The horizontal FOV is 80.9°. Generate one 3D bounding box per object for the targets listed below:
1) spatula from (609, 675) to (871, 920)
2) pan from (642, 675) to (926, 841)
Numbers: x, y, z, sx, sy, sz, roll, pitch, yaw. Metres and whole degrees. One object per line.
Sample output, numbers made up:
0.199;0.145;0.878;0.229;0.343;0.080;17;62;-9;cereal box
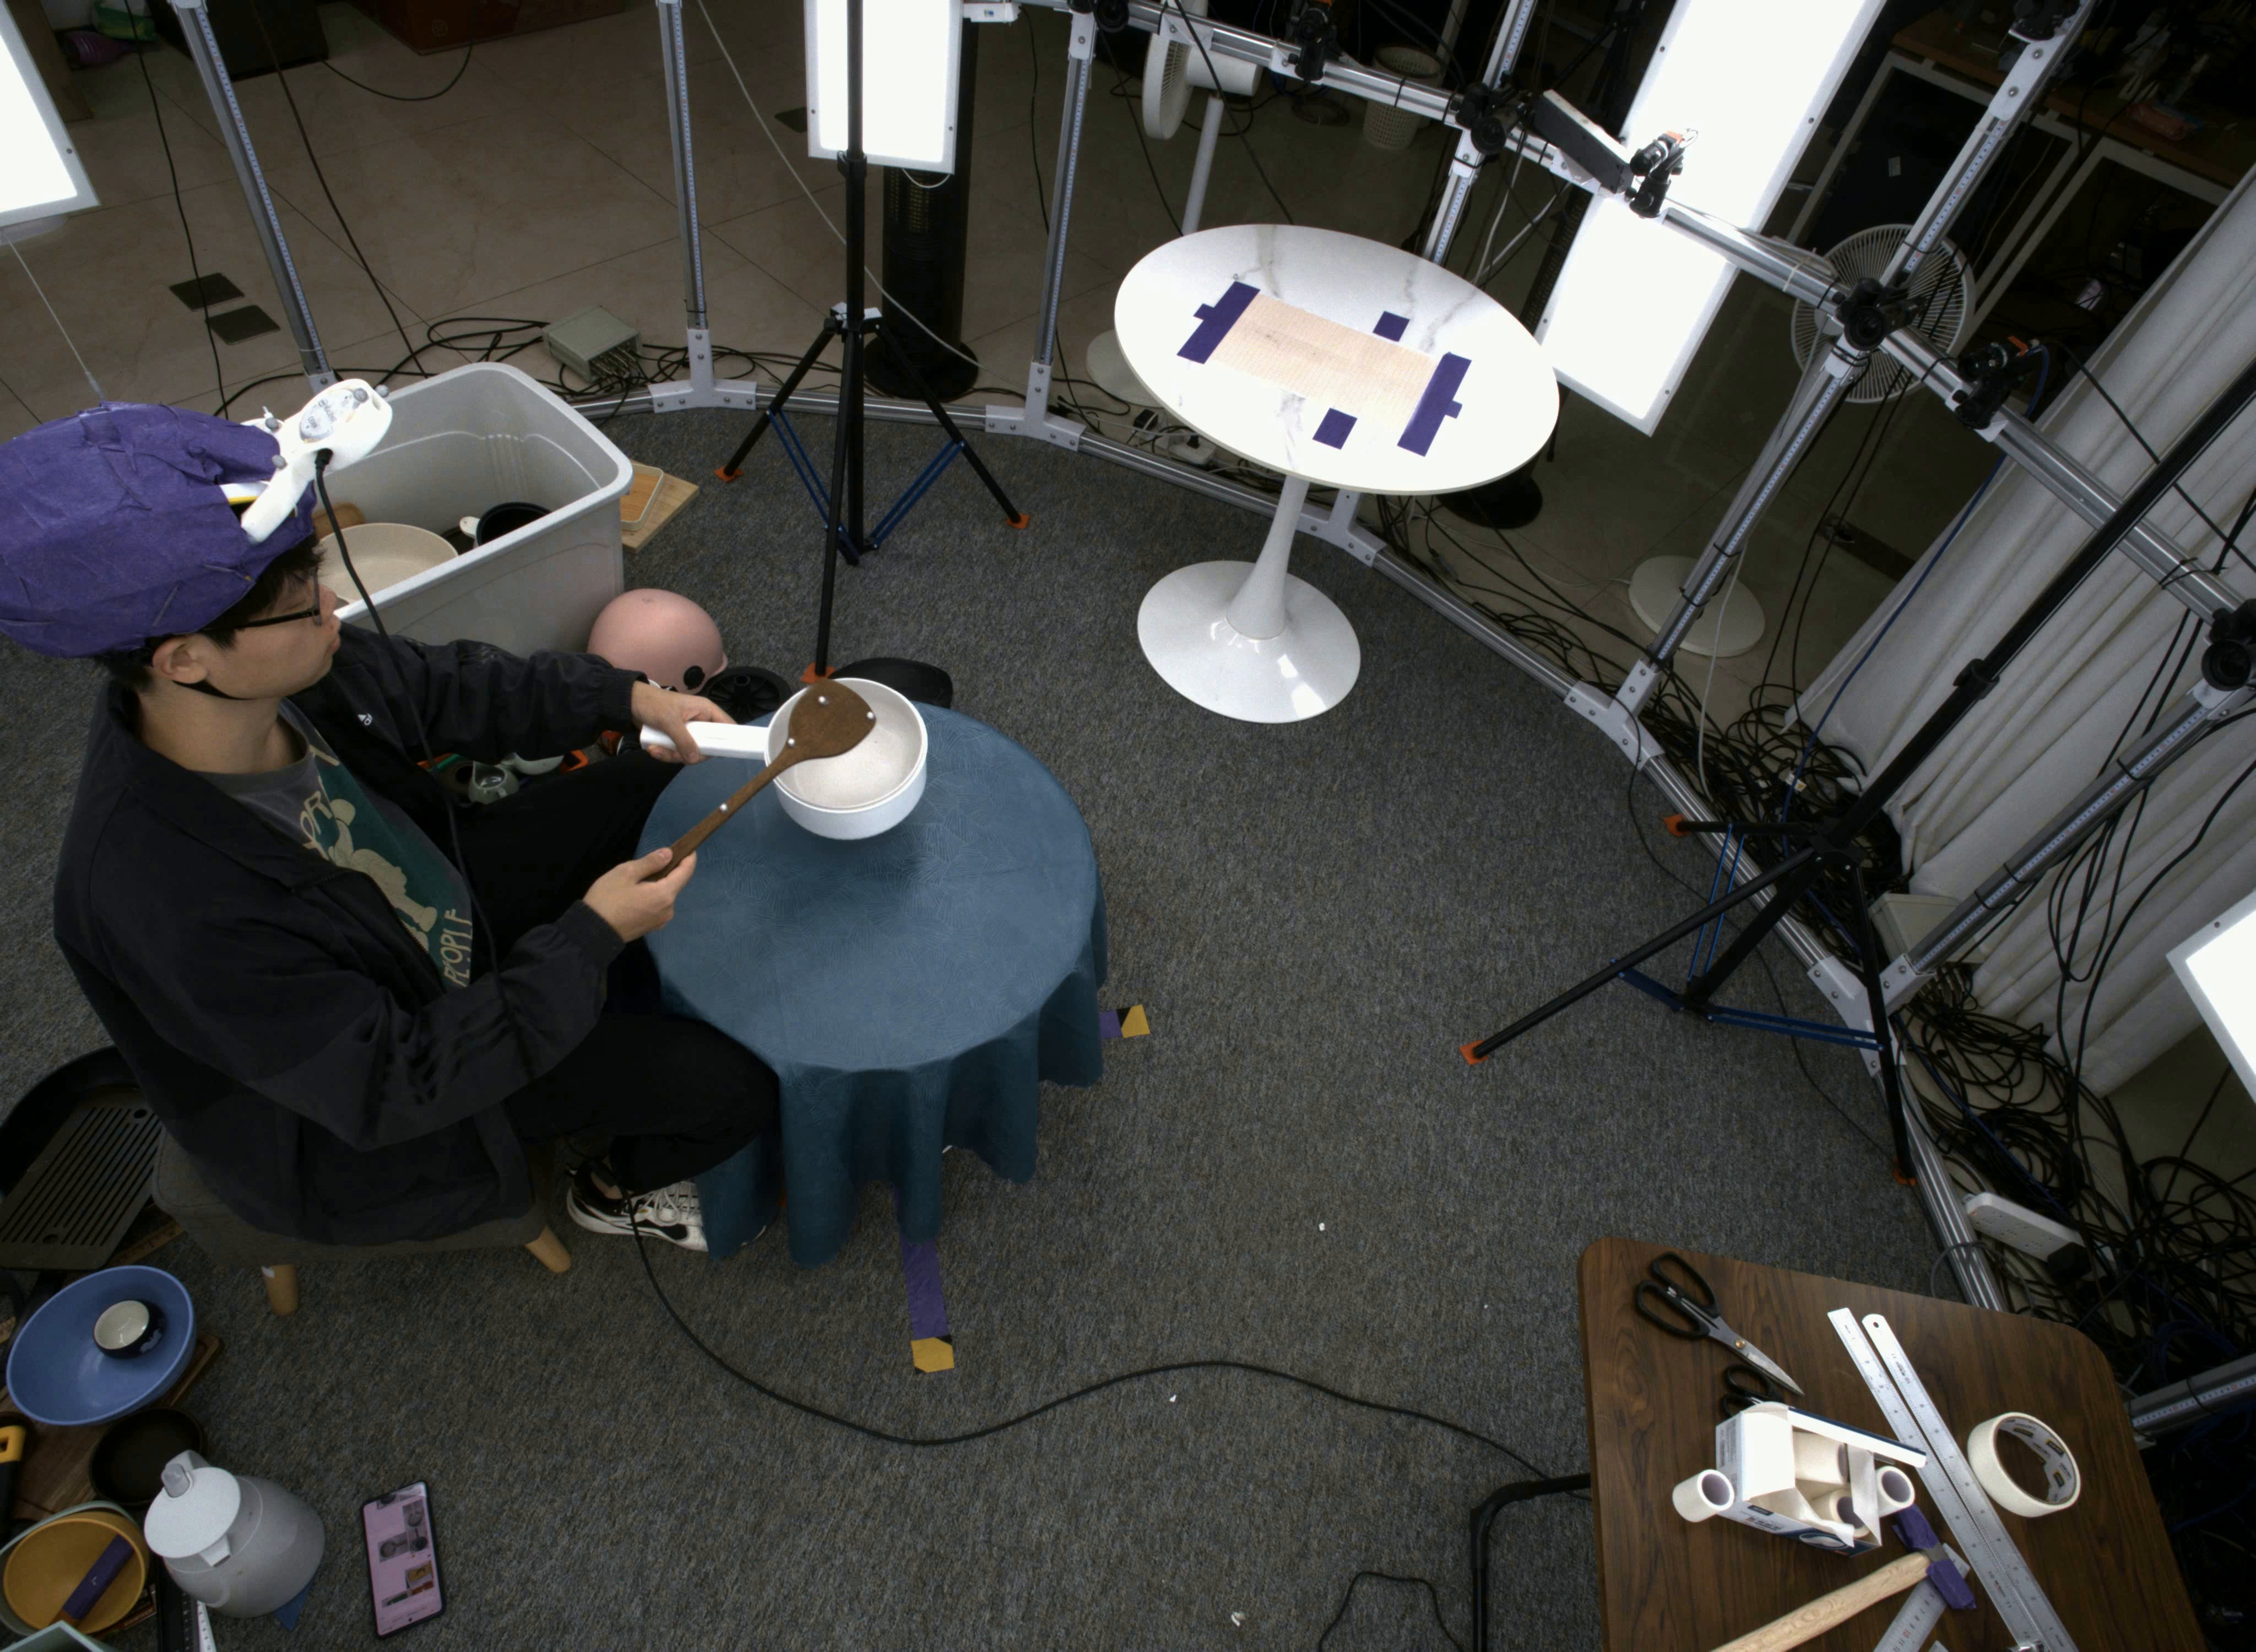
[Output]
-0.448;-0.033;1.476;0.095;0.016;0.385;38;64;7;spatula
-0.432;-0.087;1.645;0.352;0.104;0.198;4;61;-4;pan
